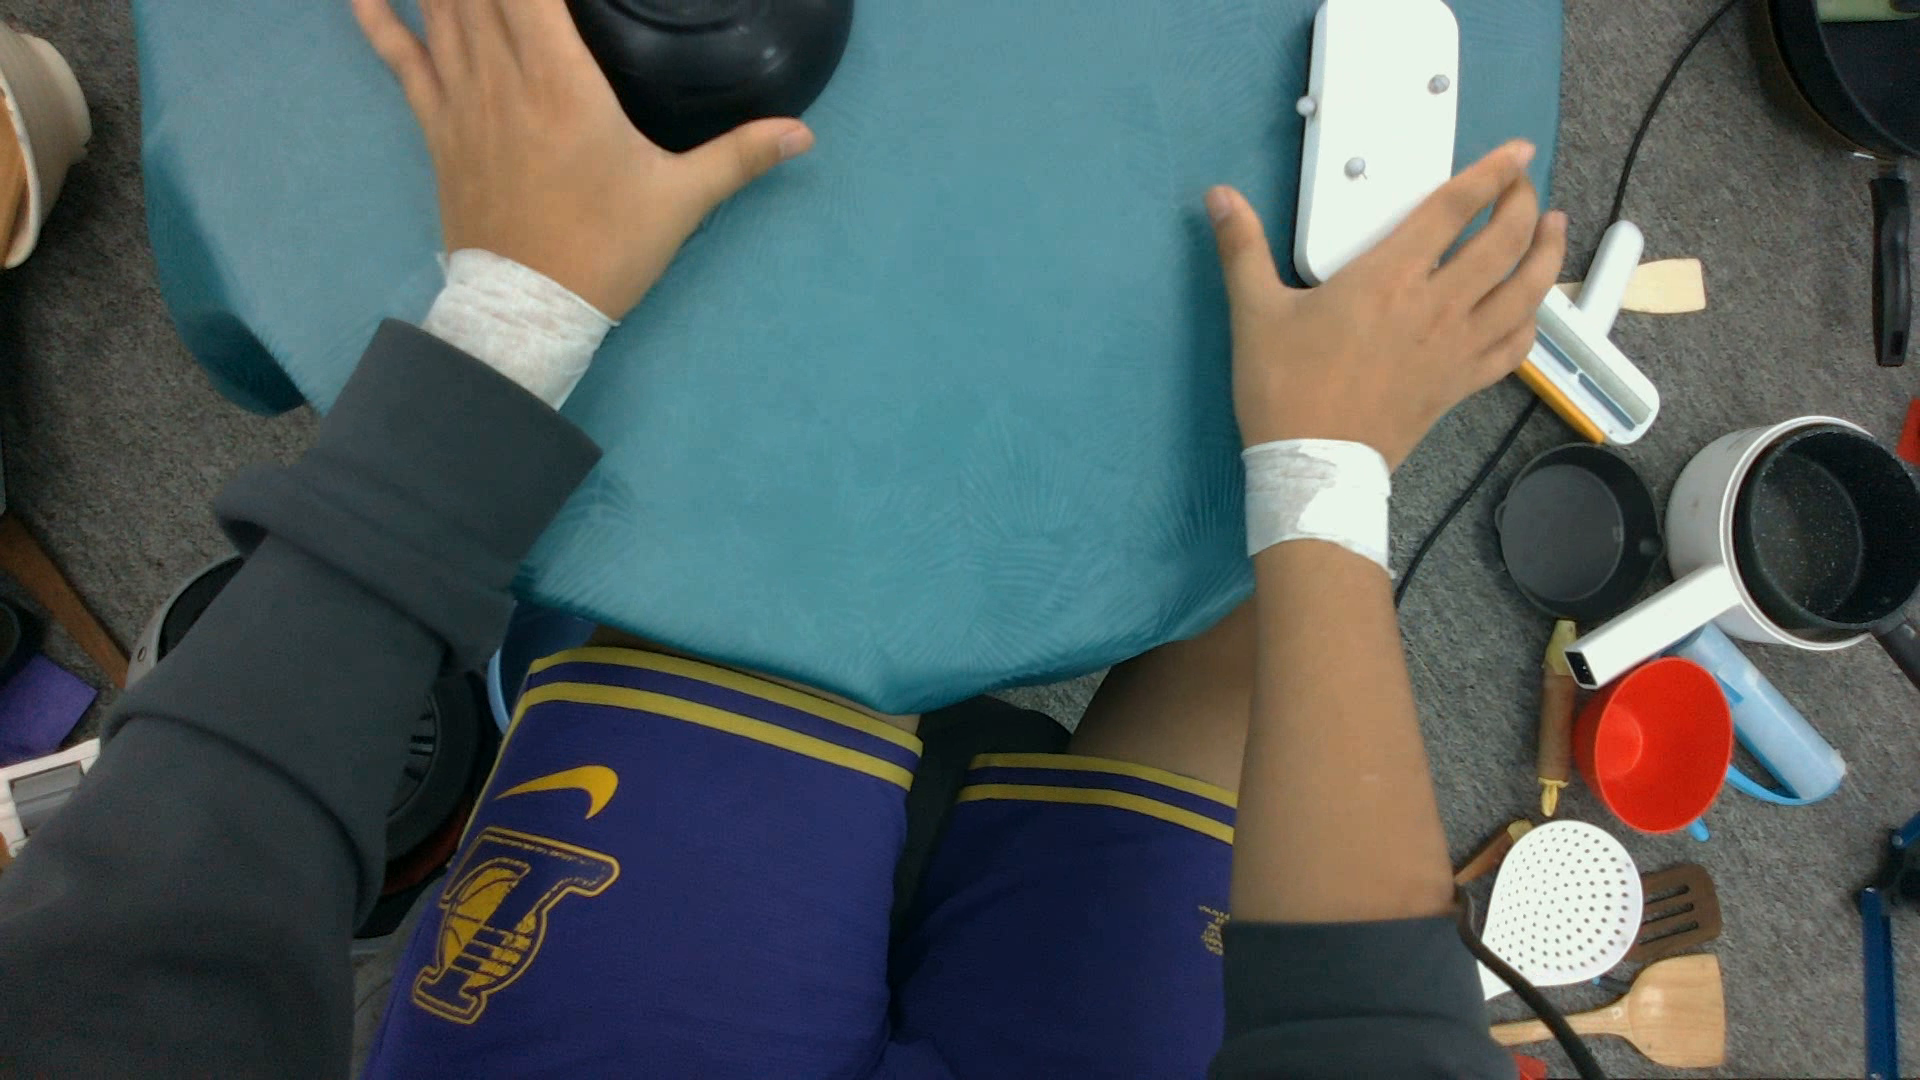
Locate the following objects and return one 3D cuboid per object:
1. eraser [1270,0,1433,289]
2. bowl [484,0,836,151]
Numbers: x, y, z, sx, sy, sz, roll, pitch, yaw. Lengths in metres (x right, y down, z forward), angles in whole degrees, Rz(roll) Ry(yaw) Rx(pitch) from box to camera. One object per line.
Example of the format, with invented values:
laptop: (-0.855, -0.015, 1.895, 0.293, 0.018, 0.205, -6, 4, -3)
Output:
eraser: (0.169, -0.176, 0.599, 0.063, 0.034, 0.131, 7, 85, -11)
bowl: (-0.112, -0.224, 0.525, 0.140, 0.049, 0.140, 1, 87, -14)
